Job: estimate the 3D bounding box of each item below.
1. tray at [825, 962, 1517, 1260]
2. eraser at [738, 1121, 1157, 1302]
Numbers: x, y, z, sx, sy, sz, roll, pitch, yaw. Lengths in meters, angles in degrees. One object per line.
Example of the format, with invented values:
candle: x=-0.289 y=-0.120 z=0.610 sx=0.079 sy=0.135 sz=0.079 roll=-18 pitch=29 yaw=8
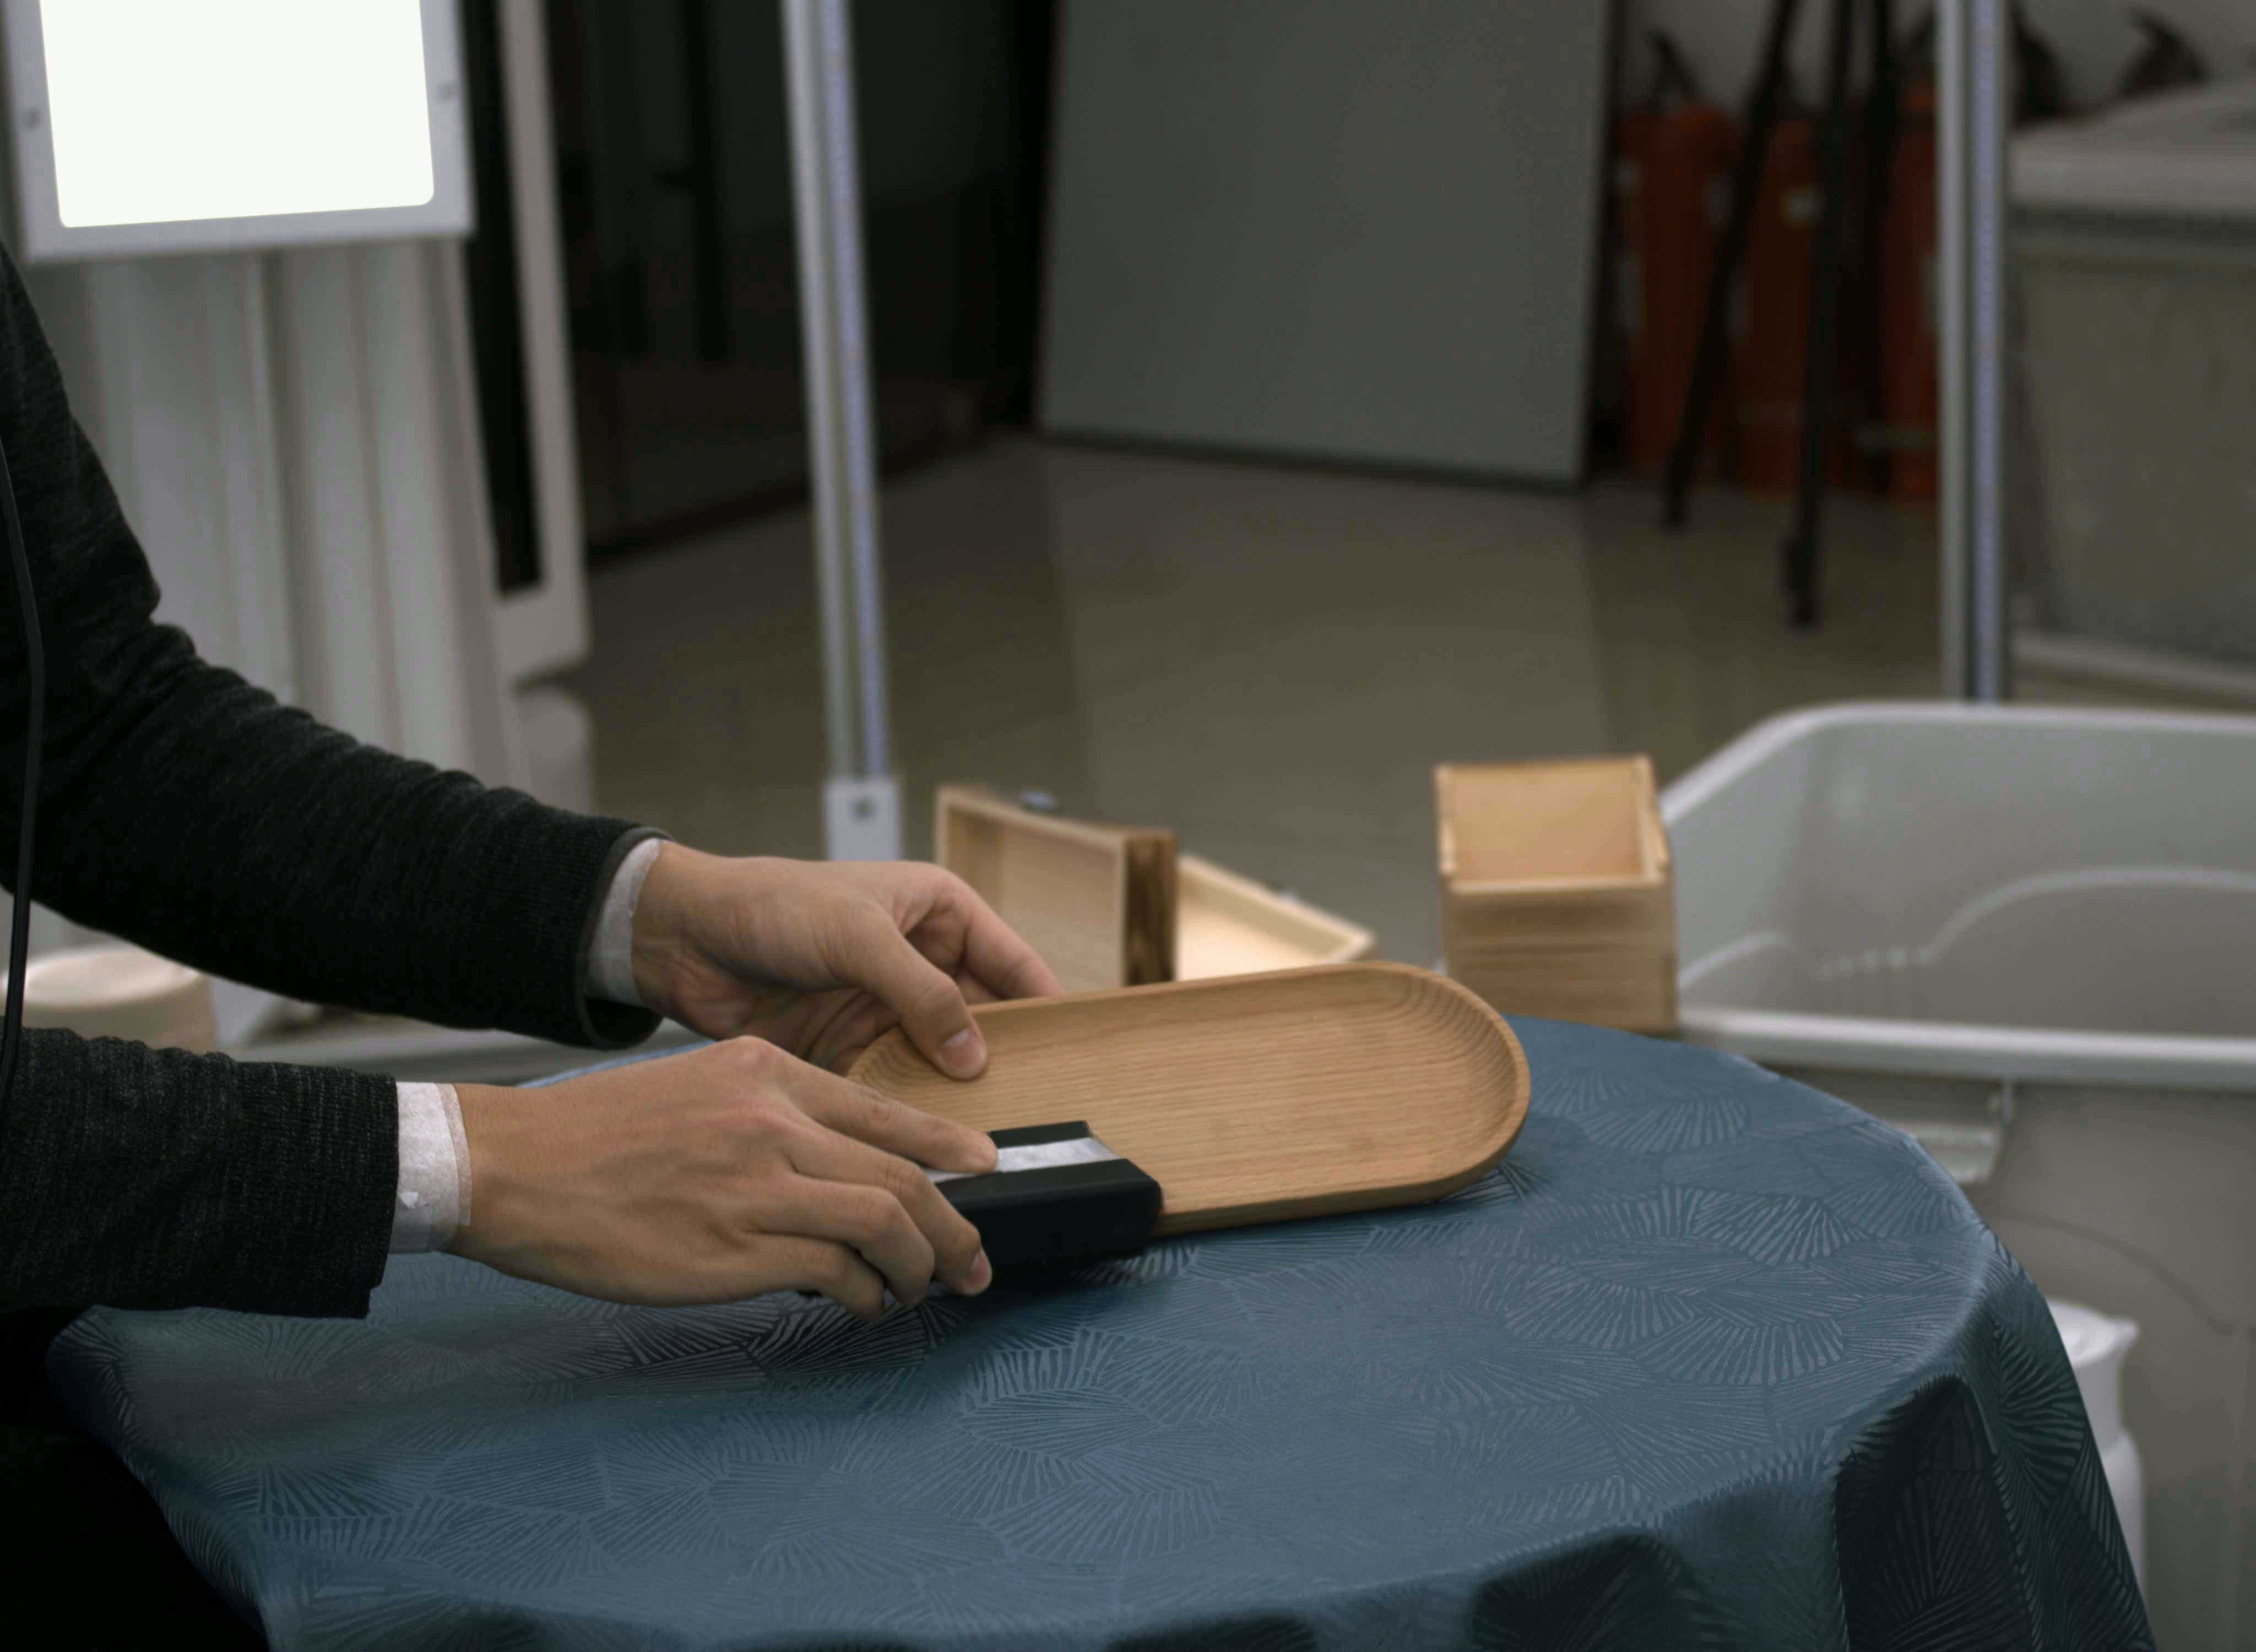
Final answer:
tray: x=0.015 y=0.093 z=1.754 sx=0.227 sy=0.020 sz=0.103 roll=-8 pitch=43 yaw=-9
eraser: x=-0.056 y=0.118 z=1.672 sx=0.122 sy=0.031 sz=0.054 roll=-6 pitch=20 yaw=-31
